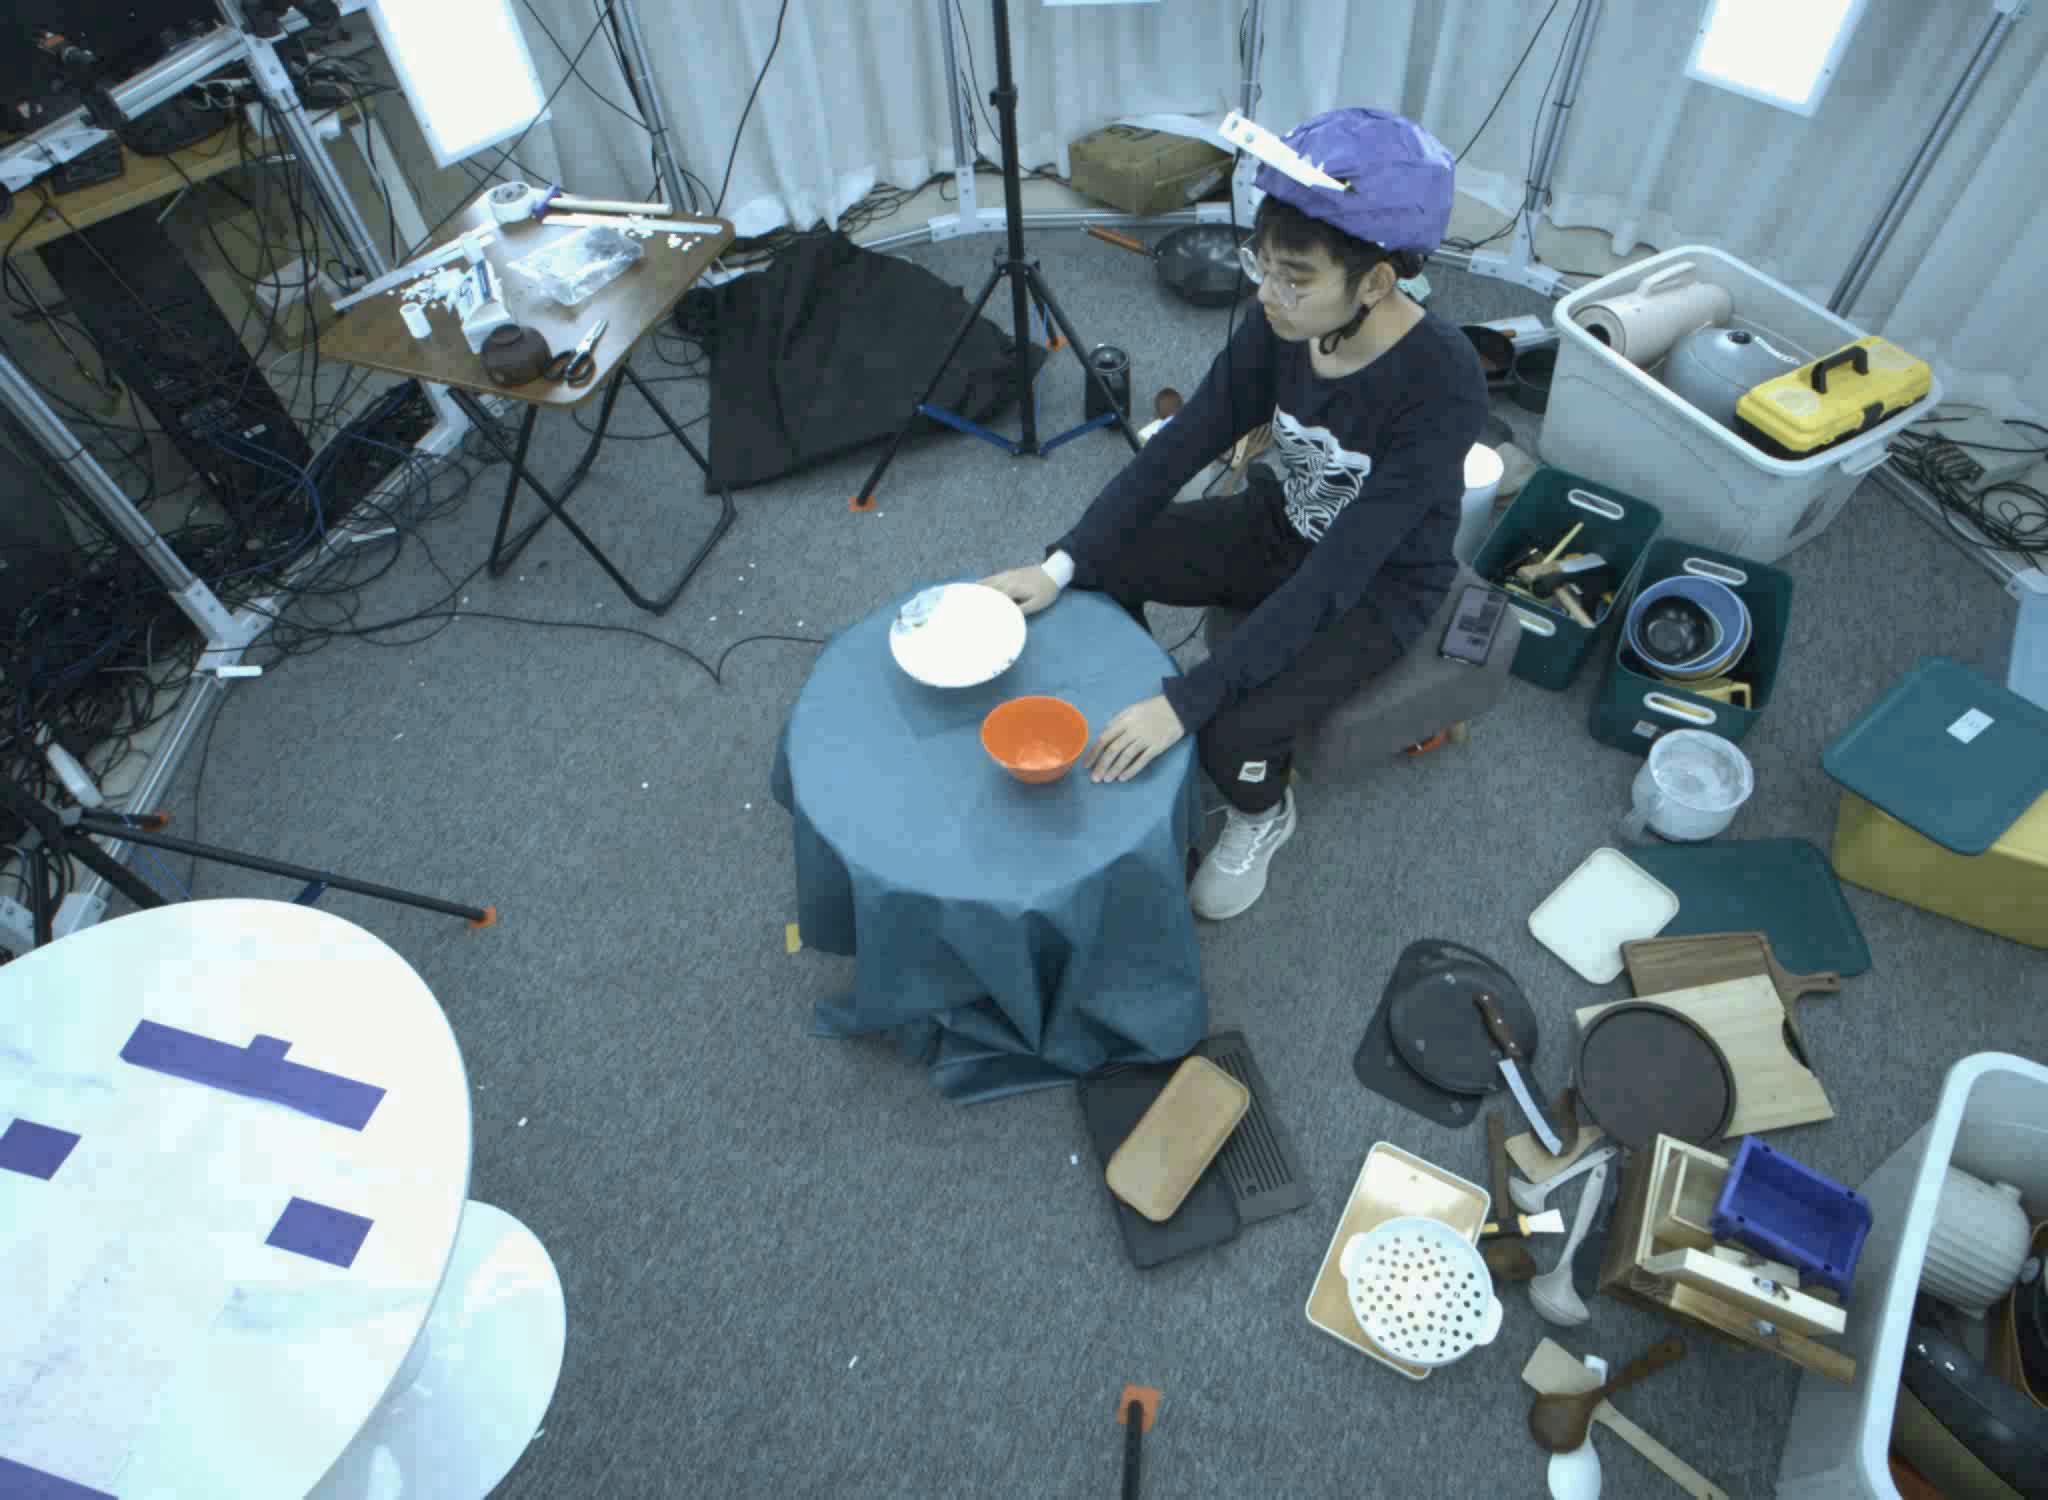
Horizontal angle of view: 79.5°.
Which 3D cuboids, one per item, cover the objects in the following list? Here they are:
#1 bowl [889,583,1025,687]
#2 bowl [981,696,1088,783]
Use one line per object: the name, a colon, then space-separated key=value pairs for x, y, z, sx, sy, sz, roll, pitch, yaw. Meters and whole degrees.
bowl: x=-0.099 y=-0.154 z=1.860 sx=0.204 sy=0.079 sz=0.202 roll=0 pitch=55 yaw=1
bowl: x=0.016 y=0.000 z=1.733 sx=0.148 sy=0.106 sz=0.146 roll=0 pitch=53 yaw=2
